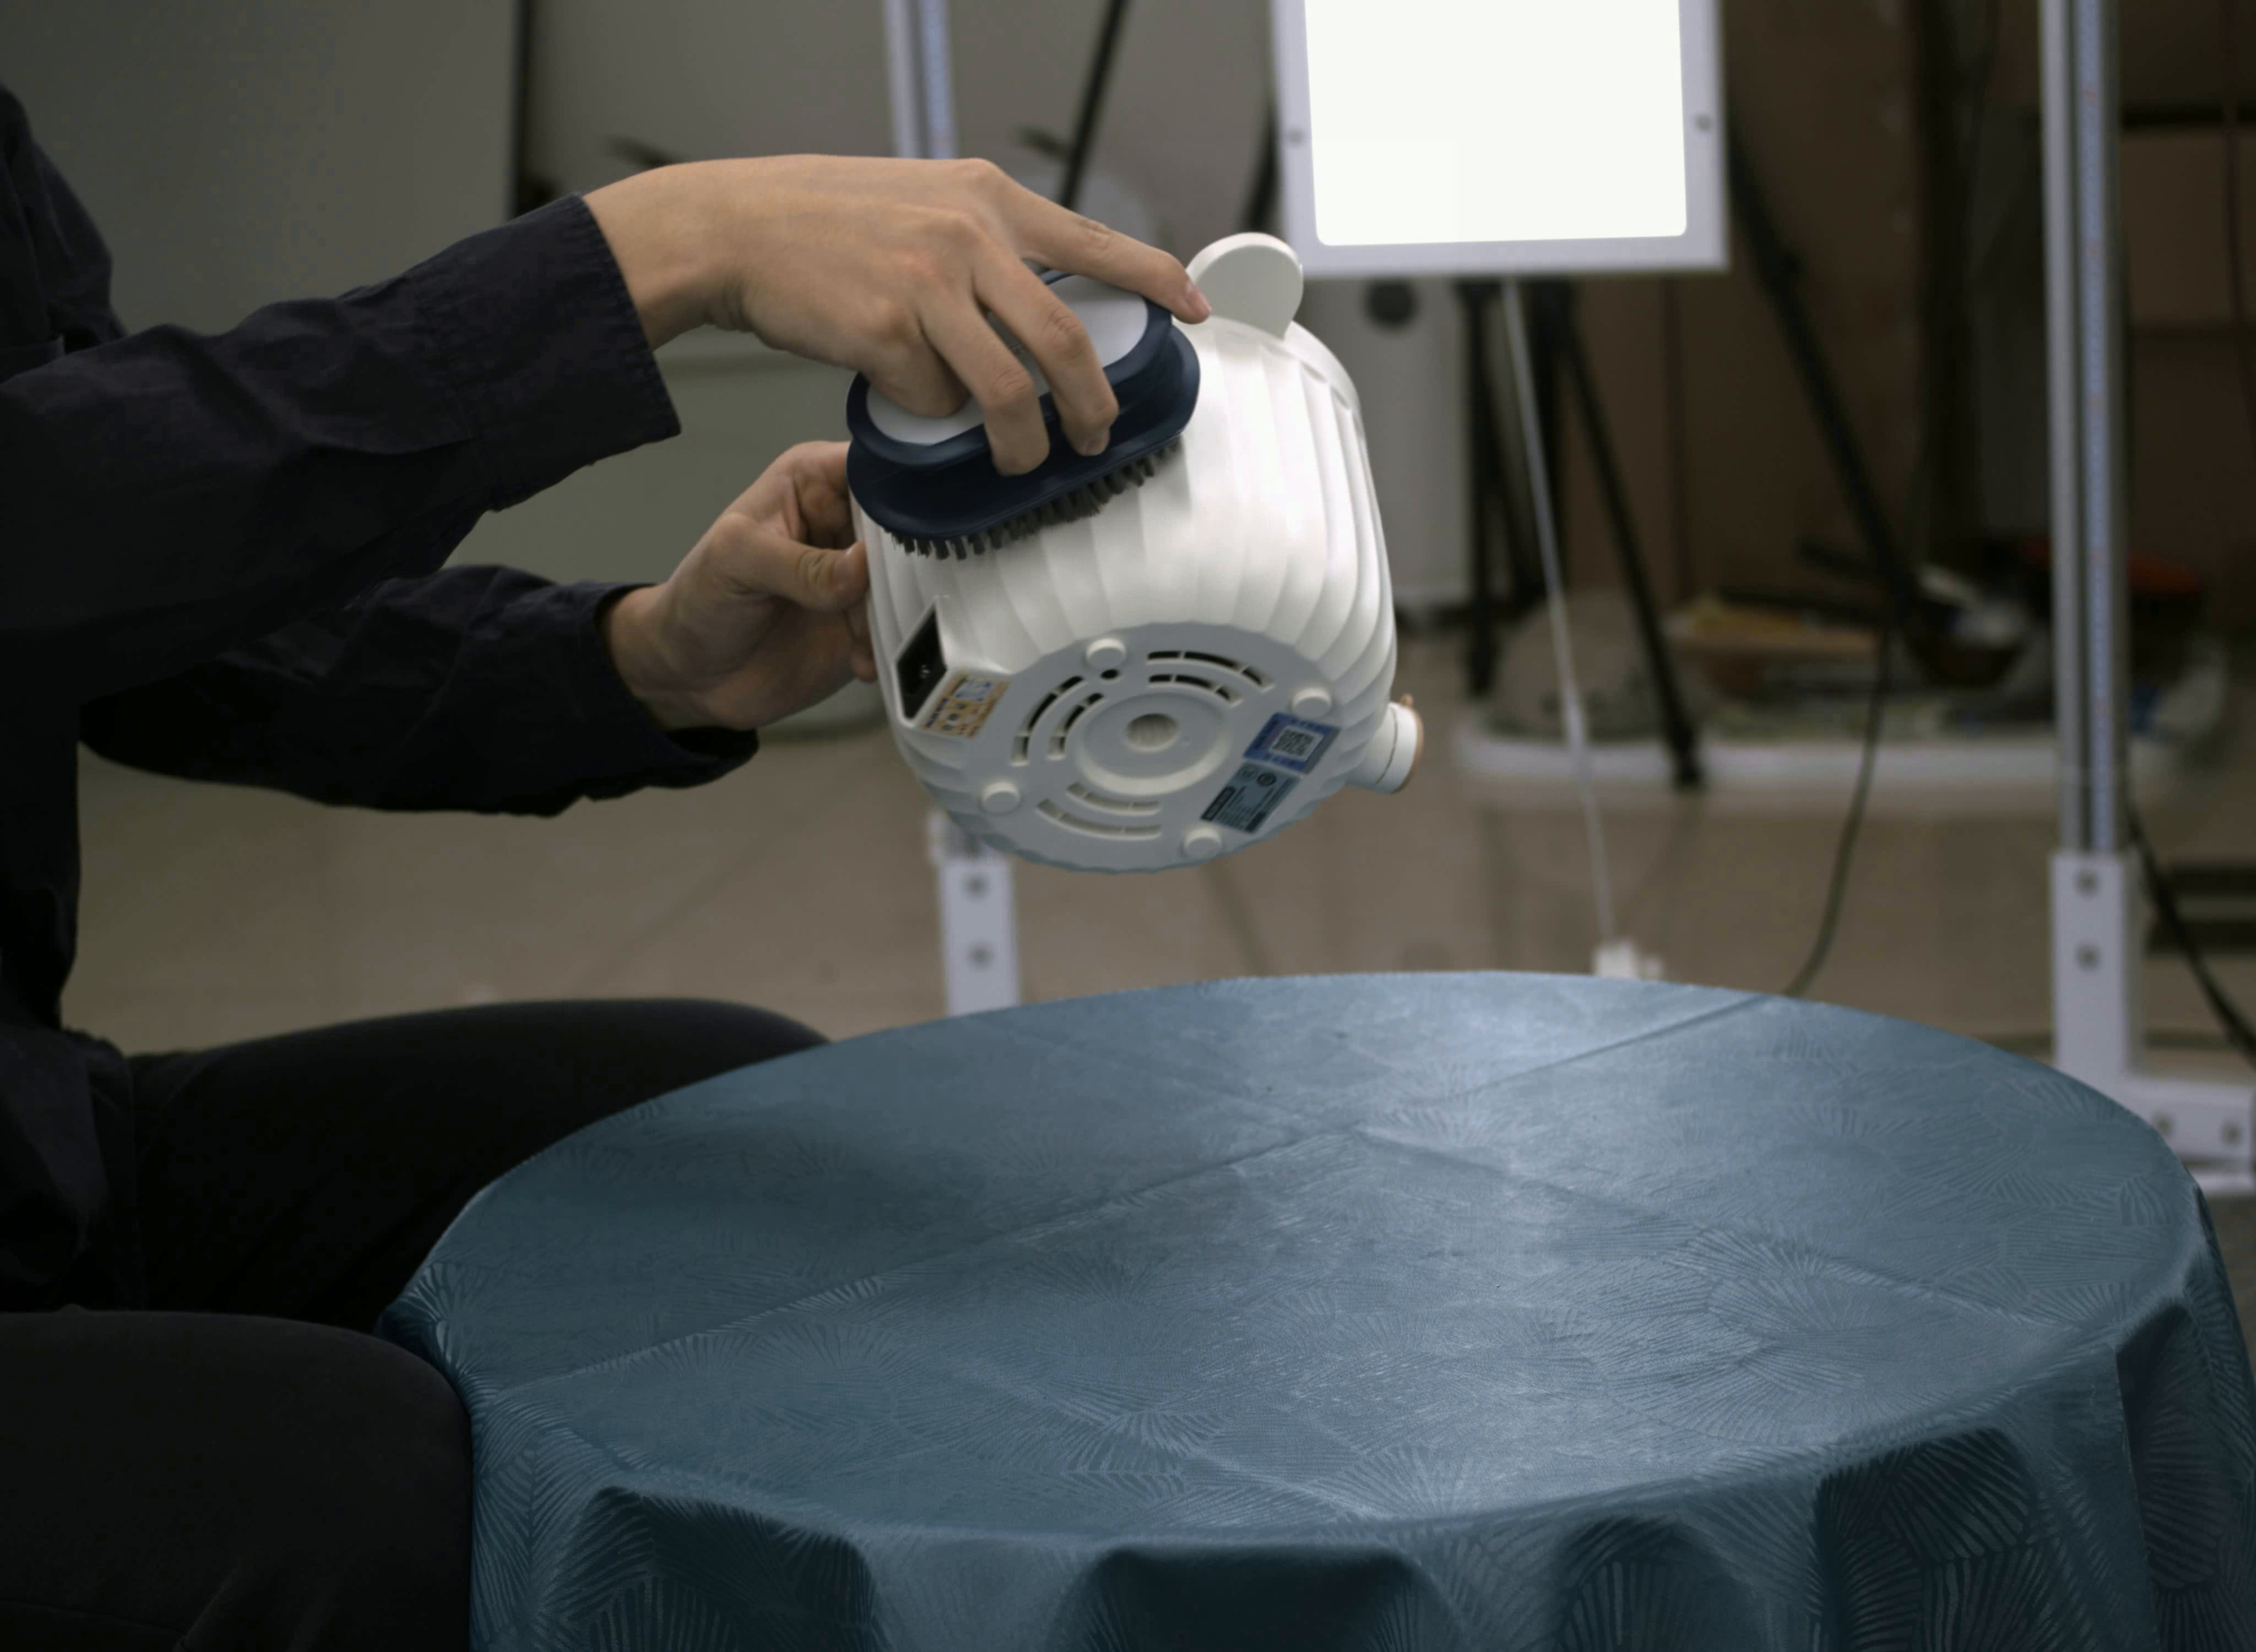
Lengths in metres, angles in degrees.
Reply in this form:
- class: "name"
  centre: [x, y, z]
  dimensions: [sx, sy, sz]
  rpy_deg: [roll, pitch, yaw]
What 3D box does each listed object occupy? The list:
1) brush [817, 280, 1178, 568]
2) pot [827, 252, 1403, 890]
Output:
- class: "brush"
  centre: [-0.042, -0.128, 1.775]
  dimensions: [0.121, 0.061, 0.068]
  rpy_deg: [-19, 55, -5]
- class: "pot"
  centre: [0.000, -0.069, 1.888]
  dimensions: [0.186, 0.245, 0.143]
  rpy_deg: [12, 49, -26]
